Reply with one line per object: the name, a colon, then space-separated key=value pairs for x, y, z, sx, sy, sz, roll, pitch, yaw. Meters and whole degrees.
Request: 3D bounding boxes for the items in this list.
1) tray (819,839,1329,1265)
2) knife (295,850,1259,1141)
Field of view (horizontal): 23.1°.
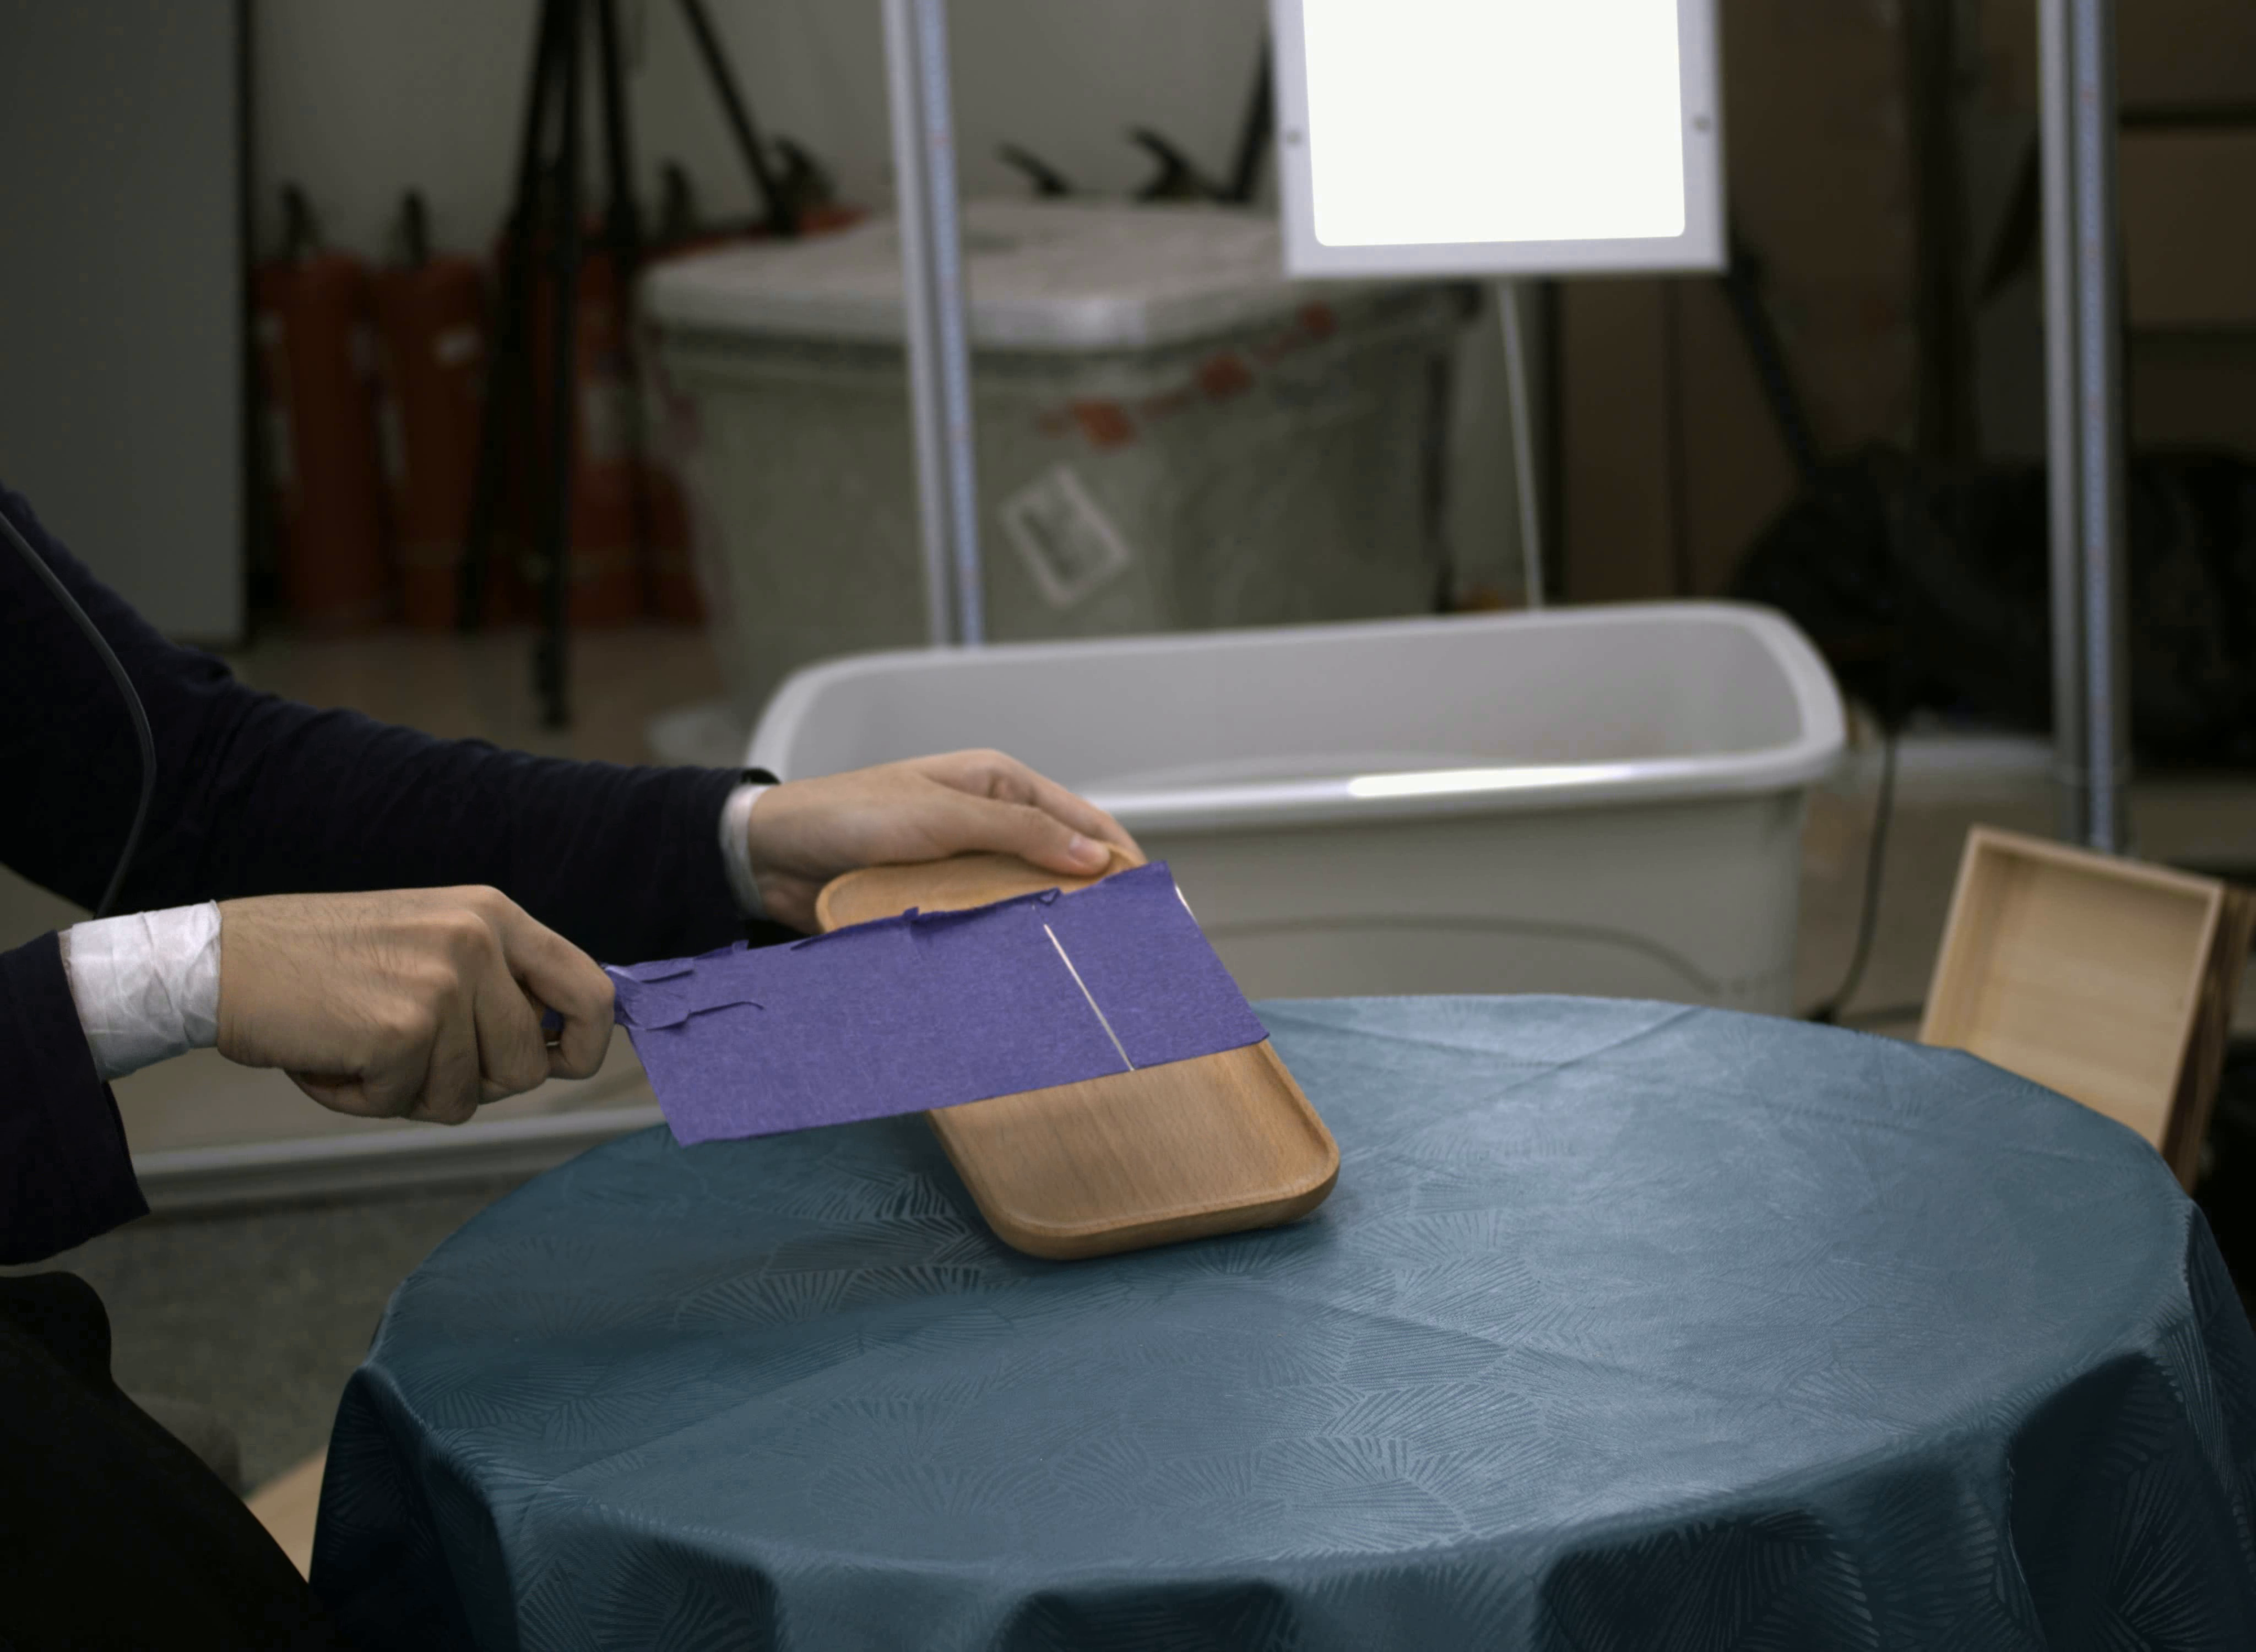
tray: x=-0.022 y=0.077 z=1.938 sx=0.129 sy=0.023 sz=0.252 roll=-10 pitch=33 yaw=-13
knife: x=-0.112 y=0.063 z=1.820 sx=0.310 sy=0.032 sz=0.105 roll=-12 pitch=38 yaw=-16
